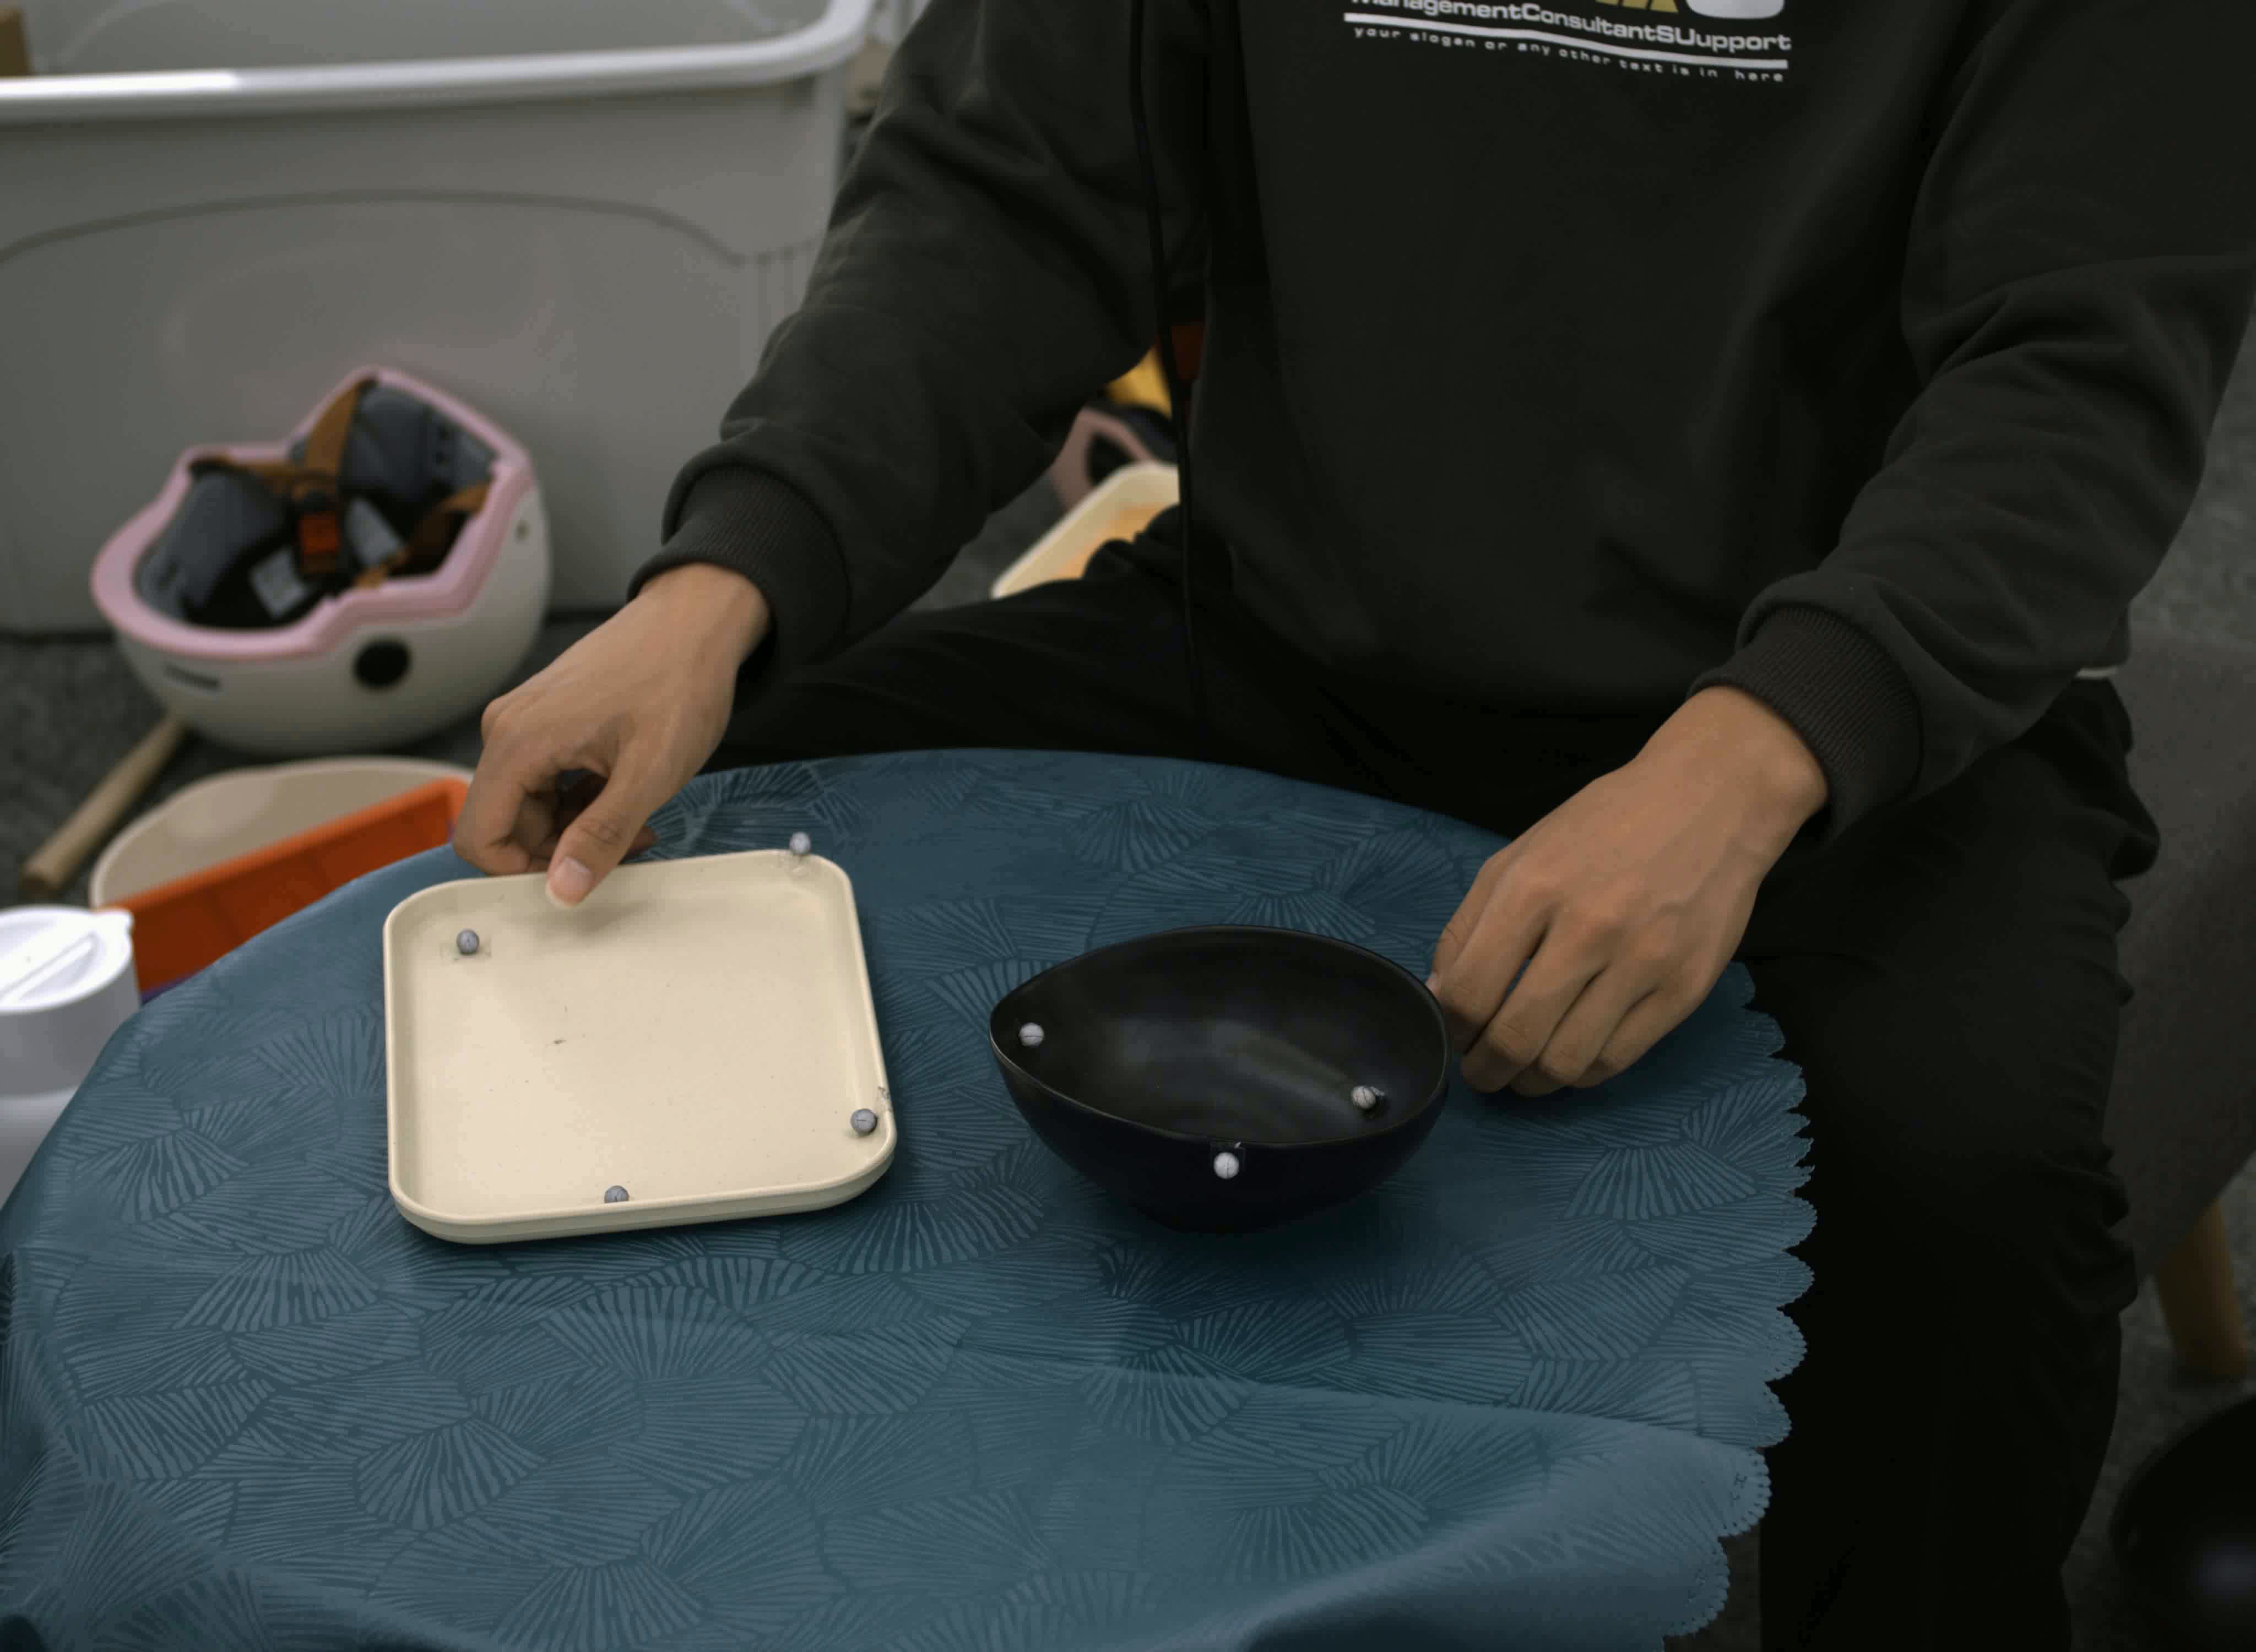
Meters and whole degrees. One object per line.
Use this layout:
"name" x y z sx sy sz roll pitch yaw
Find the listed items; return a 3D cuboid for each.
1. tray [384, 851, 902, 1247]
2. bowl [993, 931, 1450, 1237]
"tray" -0.171 0.076 1.948 0.171 0.017 0.243 -6 28 -6
"bowl" 0.030 0.093 1.853 0.170 0.066 0.139 20 33 40
